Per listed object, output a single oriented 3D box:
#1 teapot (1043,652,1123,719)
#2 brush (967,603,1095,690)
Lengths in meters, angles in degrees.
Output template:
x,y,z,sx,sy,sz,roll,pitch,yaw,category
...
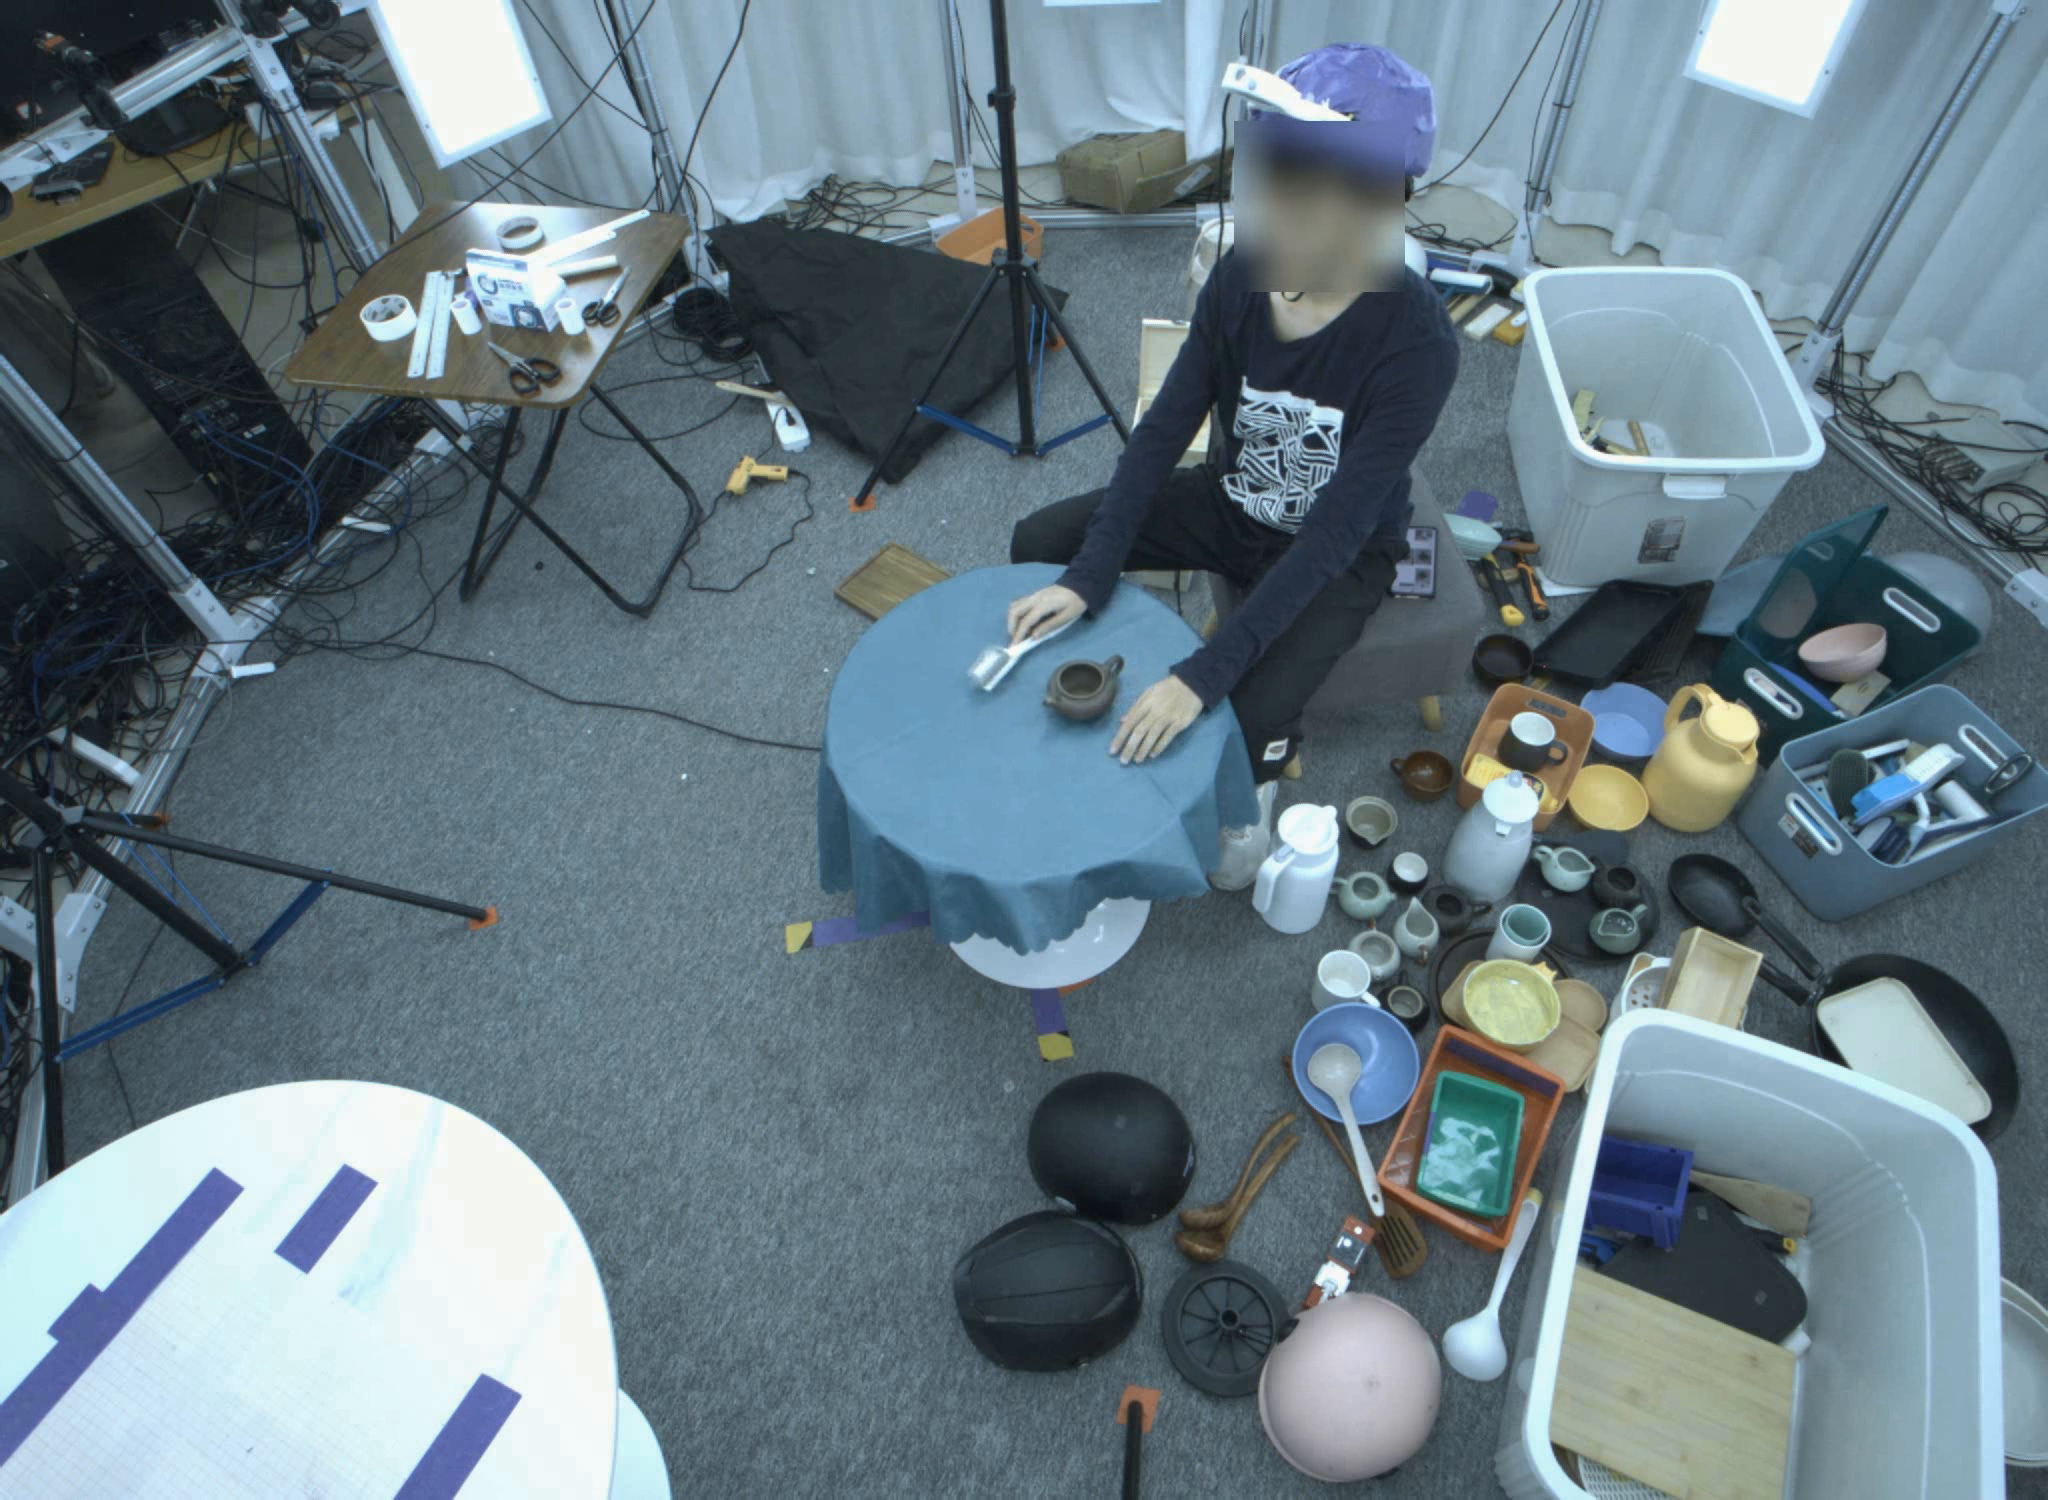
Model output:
x,y,z,sx,sy,sz,roll,pitch,yaw,category
0.087,-0.094,1.811,0.101,0.054,0.154,38,65,25,teapot
0.014,-0.171,1.873,0.245,0.051,0.034,-36,58,-21,brush
